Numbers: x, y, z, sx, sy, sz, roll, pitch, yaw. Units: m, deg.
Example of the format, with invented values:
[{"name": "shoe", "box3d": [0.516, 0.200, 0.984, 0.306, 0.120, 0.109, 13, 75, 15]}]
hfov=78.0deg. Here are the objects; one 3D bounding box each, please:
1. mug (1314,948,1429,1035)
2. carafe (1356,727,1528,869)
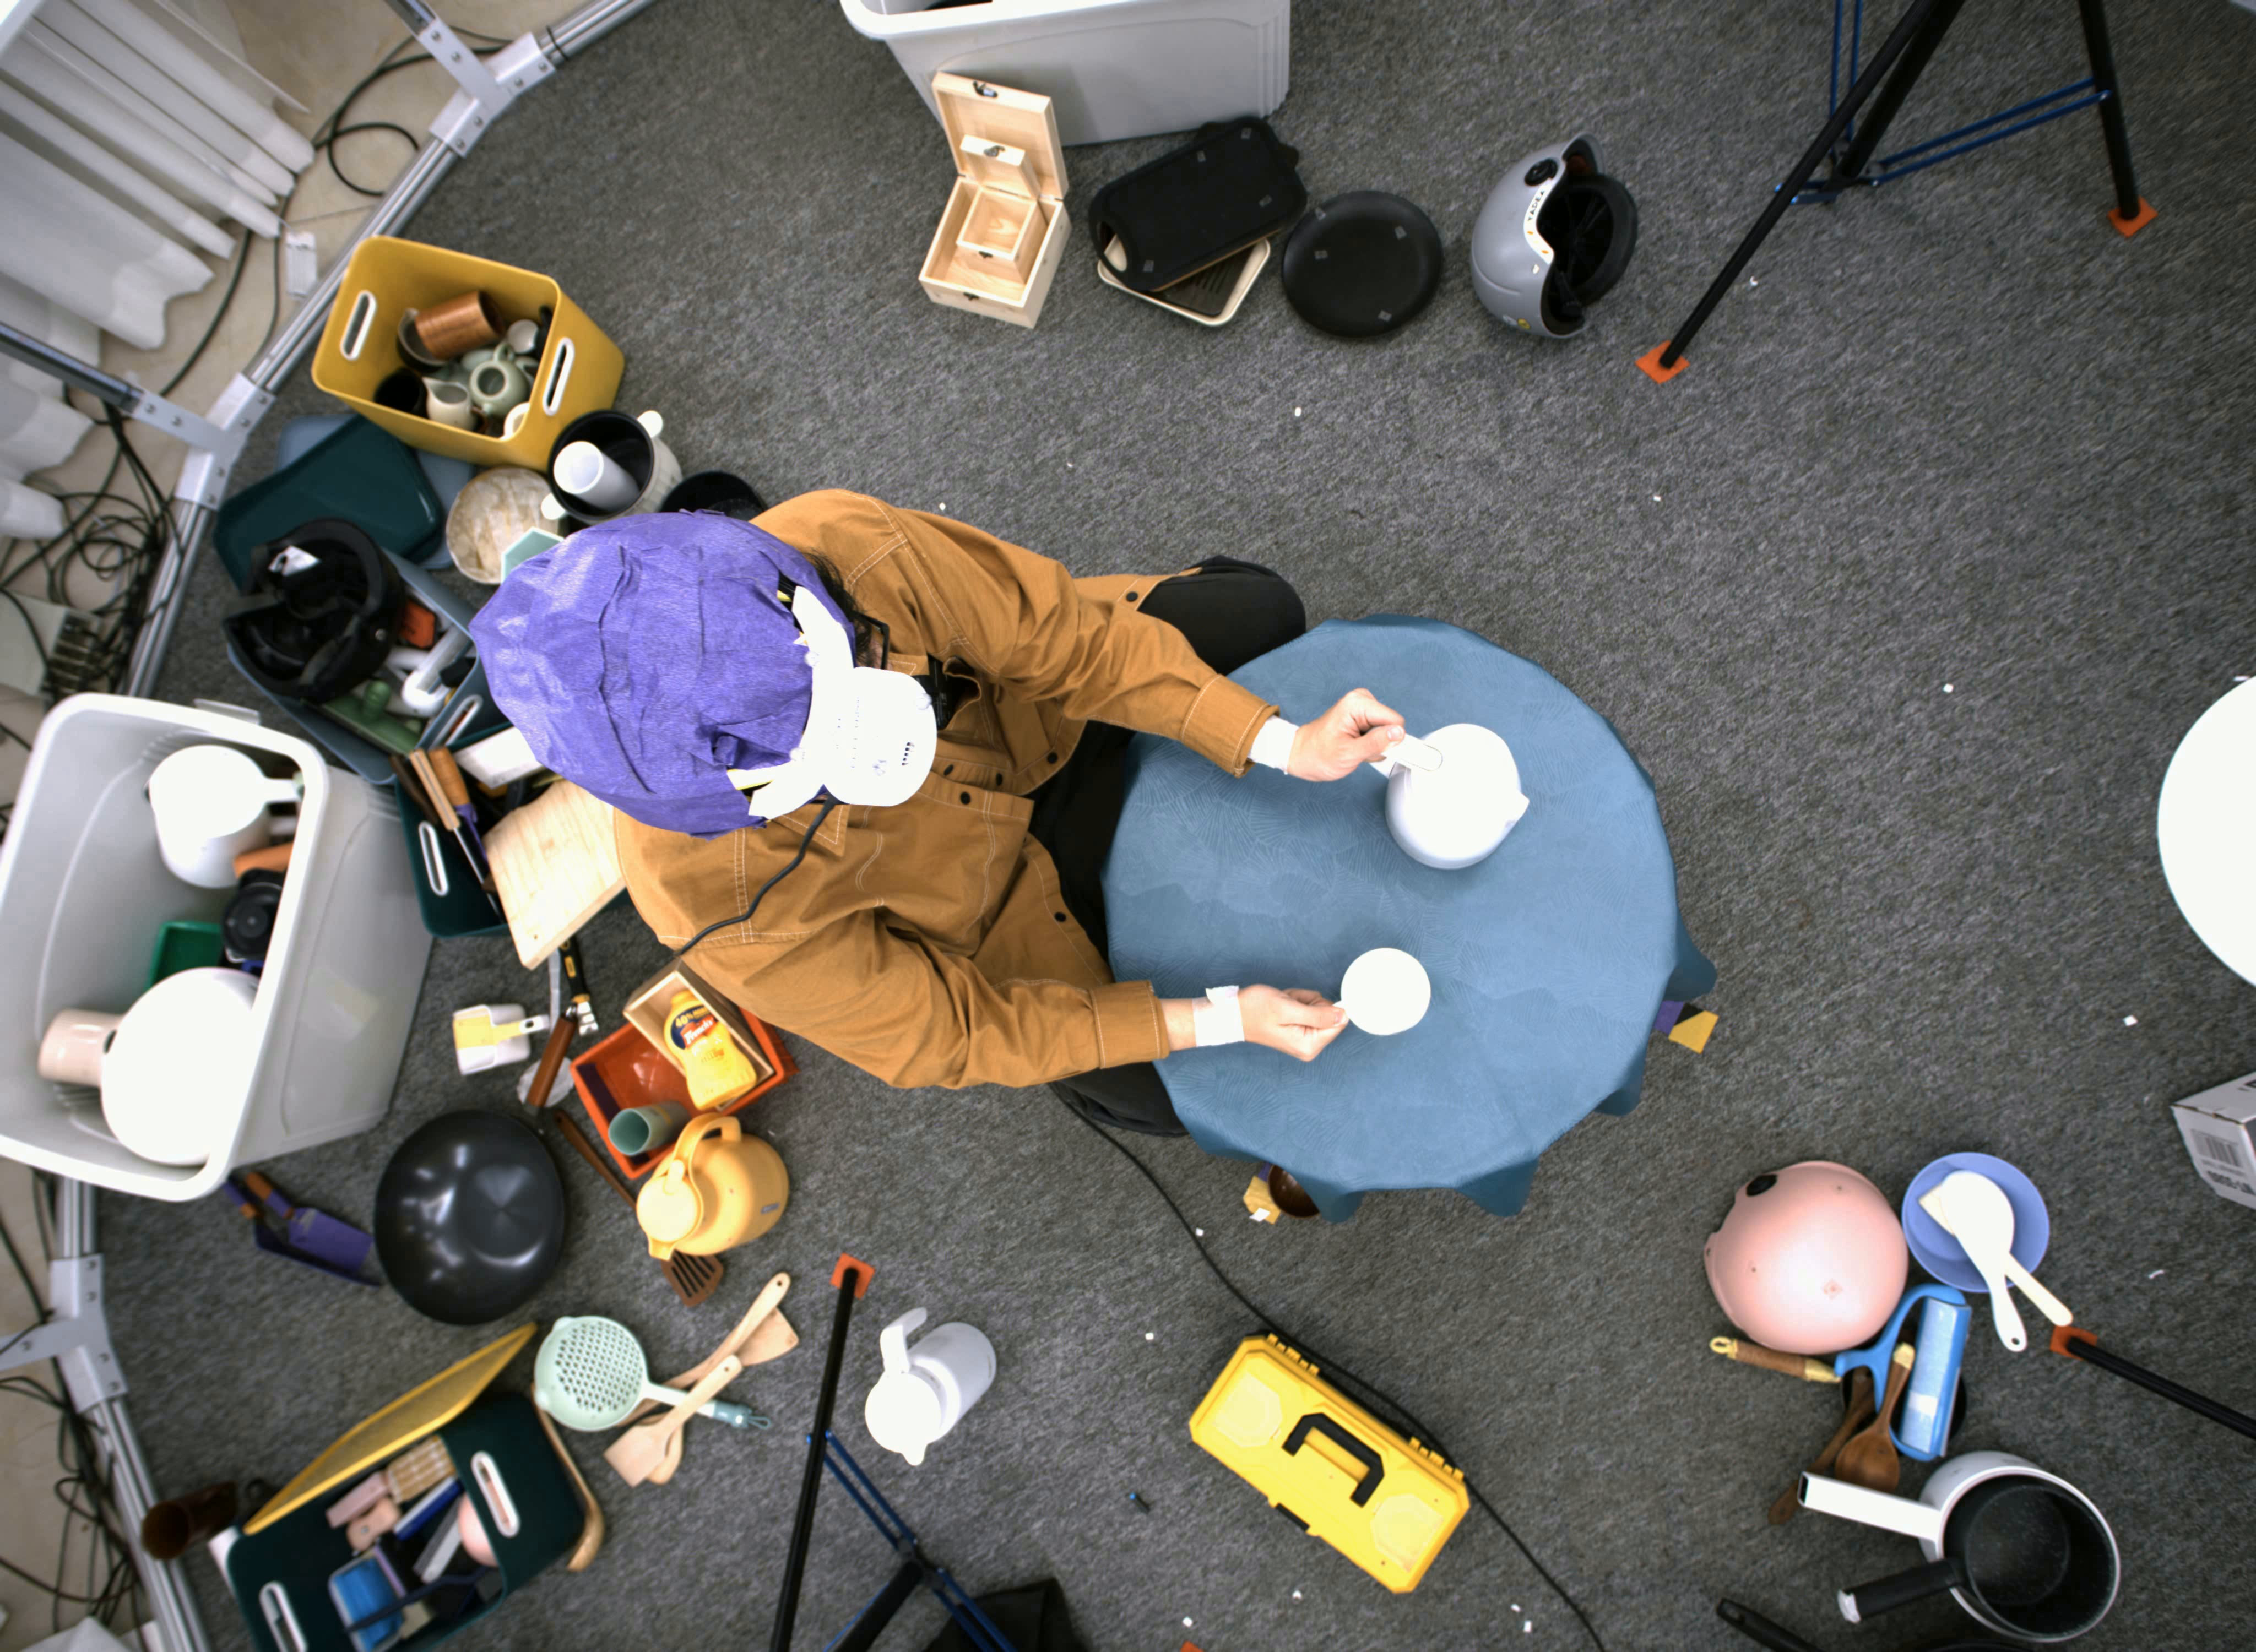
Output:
[{"name": "mug", "box3d": [0.247, 0.173, 1.409, 0.119, 0.102, 0.084, -24, 81, 9]}, {"name": "carafe", "box3d": [0.299, -0.041, 1.335, 0.167, 0.248, 0.133, 28, 91, 12]}]
